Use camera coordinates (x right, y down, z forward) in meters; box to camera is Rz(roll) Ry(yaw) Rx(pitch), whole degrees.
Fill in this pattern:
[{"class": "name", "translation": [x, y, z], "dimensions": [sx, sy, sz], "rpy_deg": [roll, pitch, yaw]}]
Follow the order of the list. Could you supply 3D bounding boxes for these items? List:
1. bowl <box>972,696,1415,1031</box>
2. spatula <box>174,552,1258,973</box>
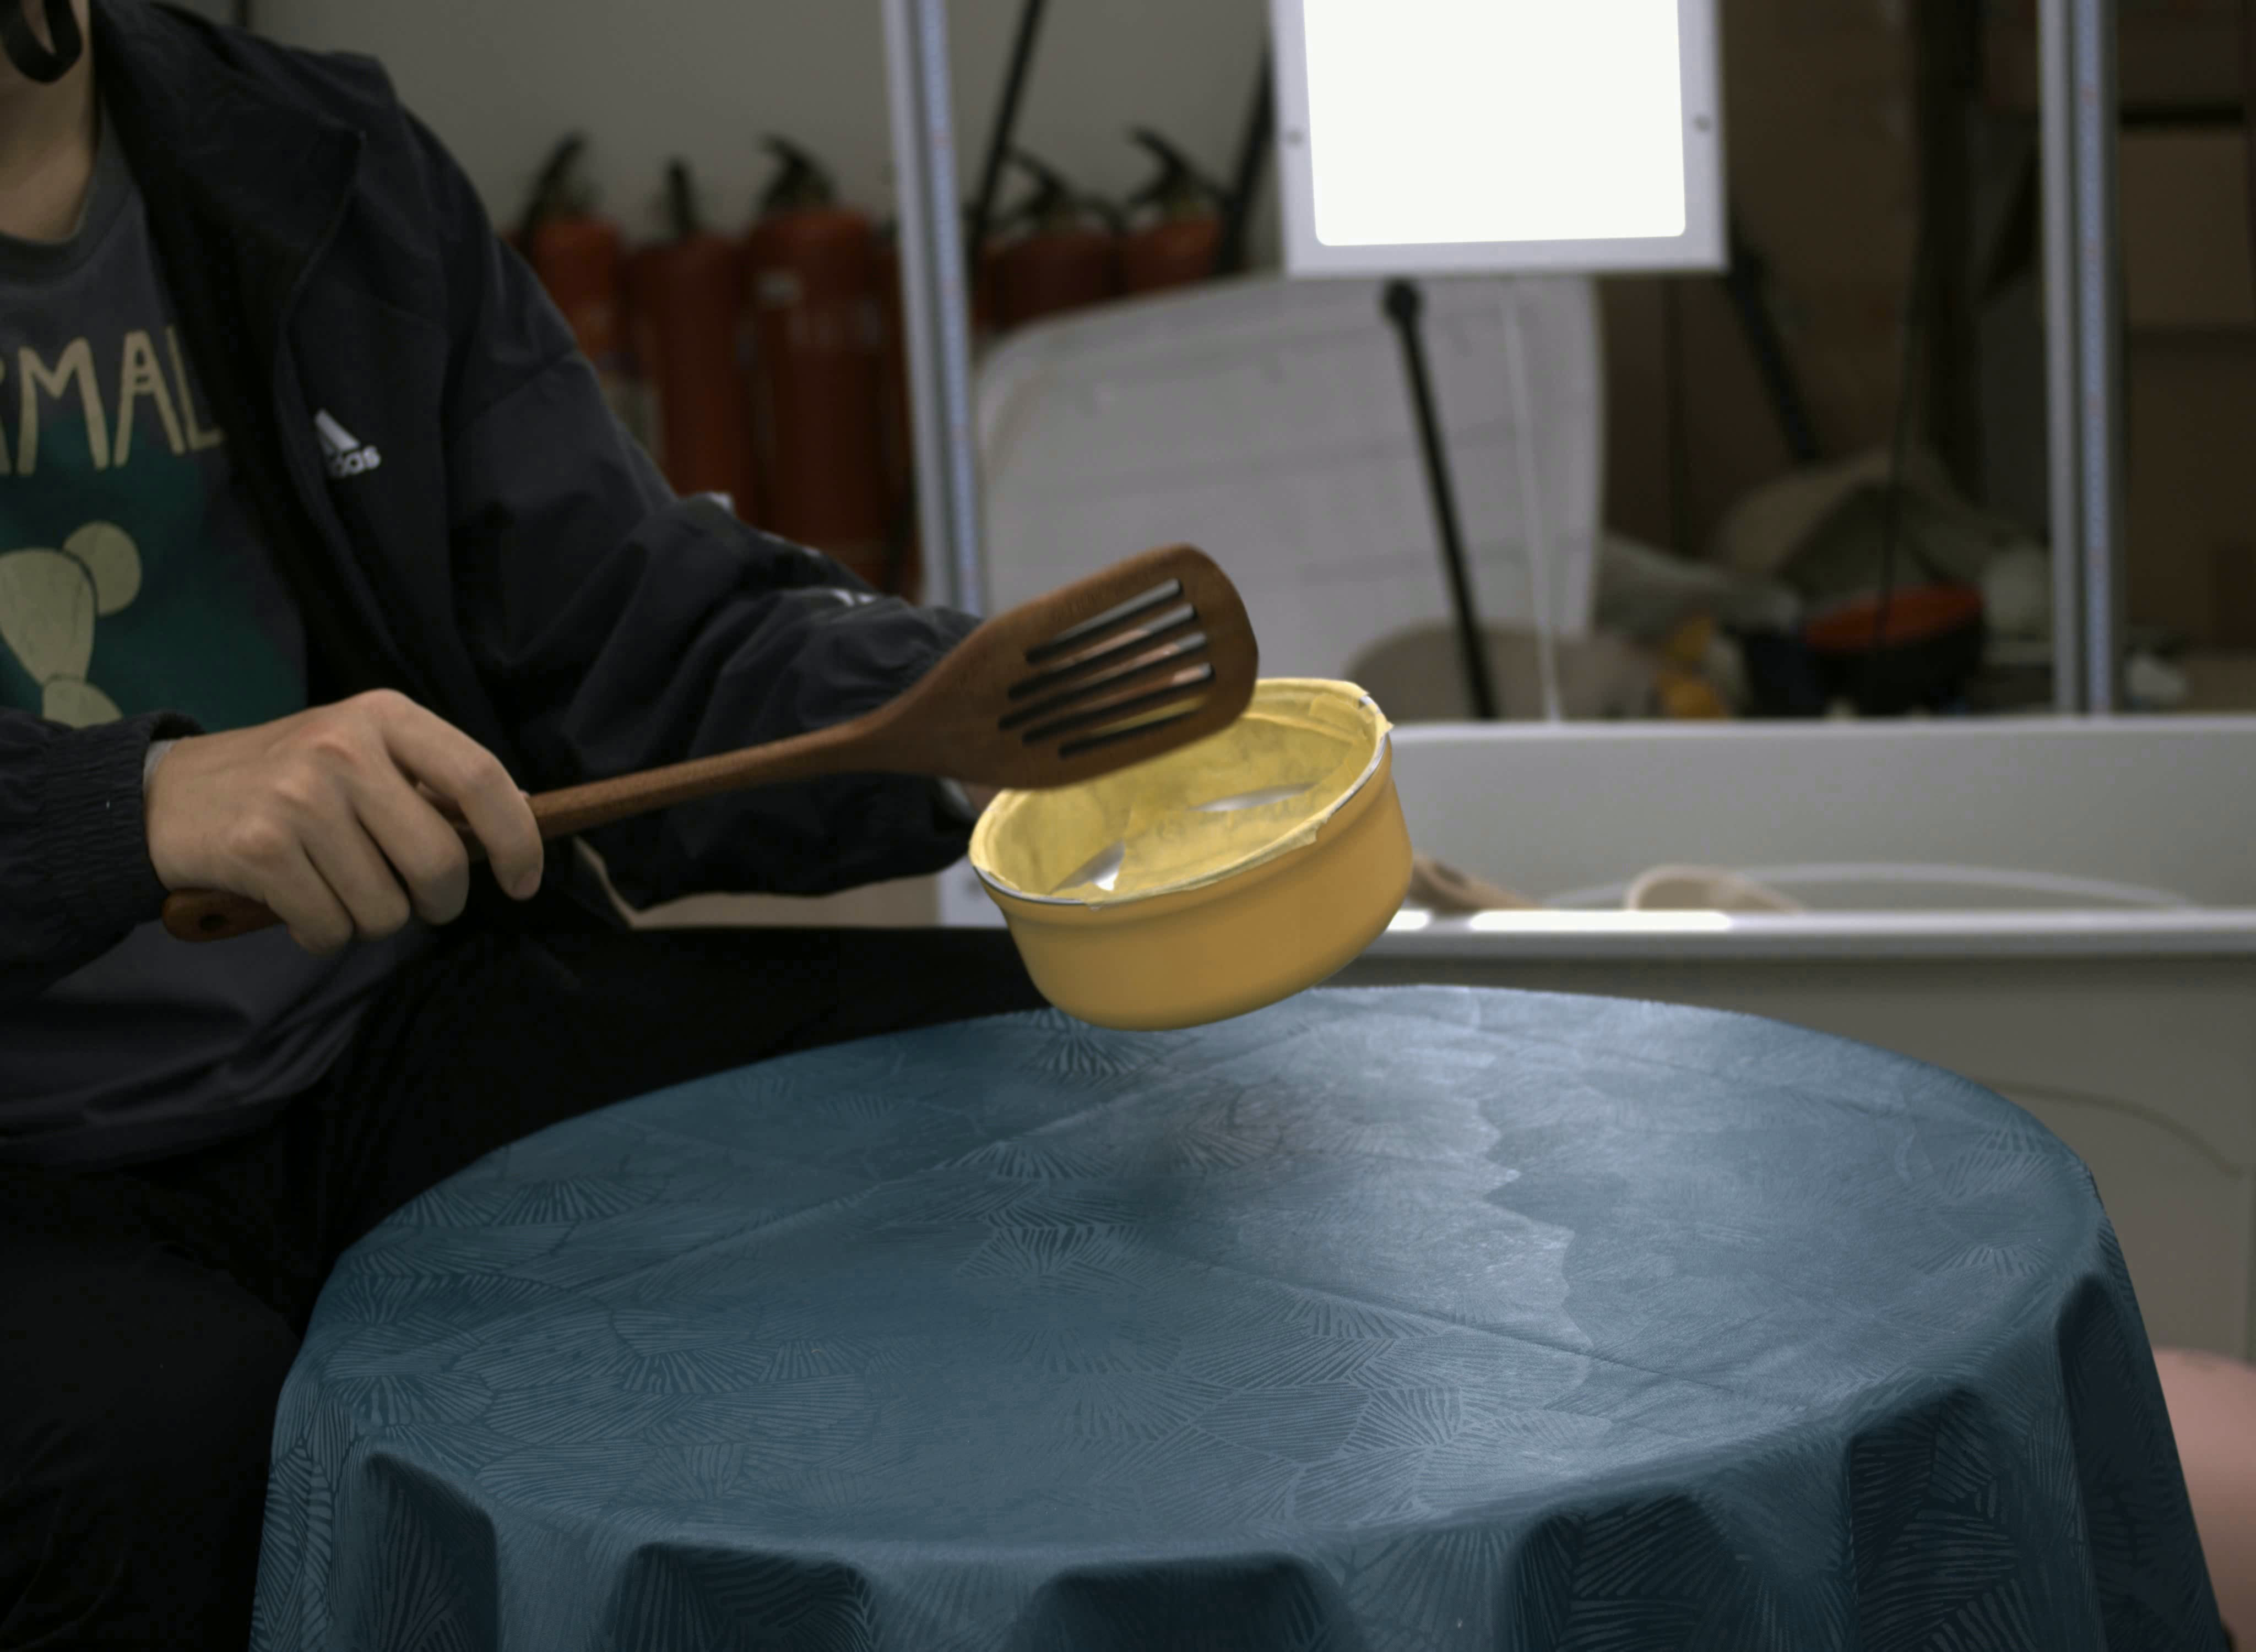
[{"class": "bowl", "translation": [0.025, 0.011, 1.936], "dimensions": [0.151, 0.074, 0.181], "rpy_deg": [-23, 25, -8]}, {"class": "spatula", "translation": [-0.143, -0.009, 1.869], "dimensions": [0.389, 0.085, 0.024], "rpy_deg": [-16, 40, 10]}]
